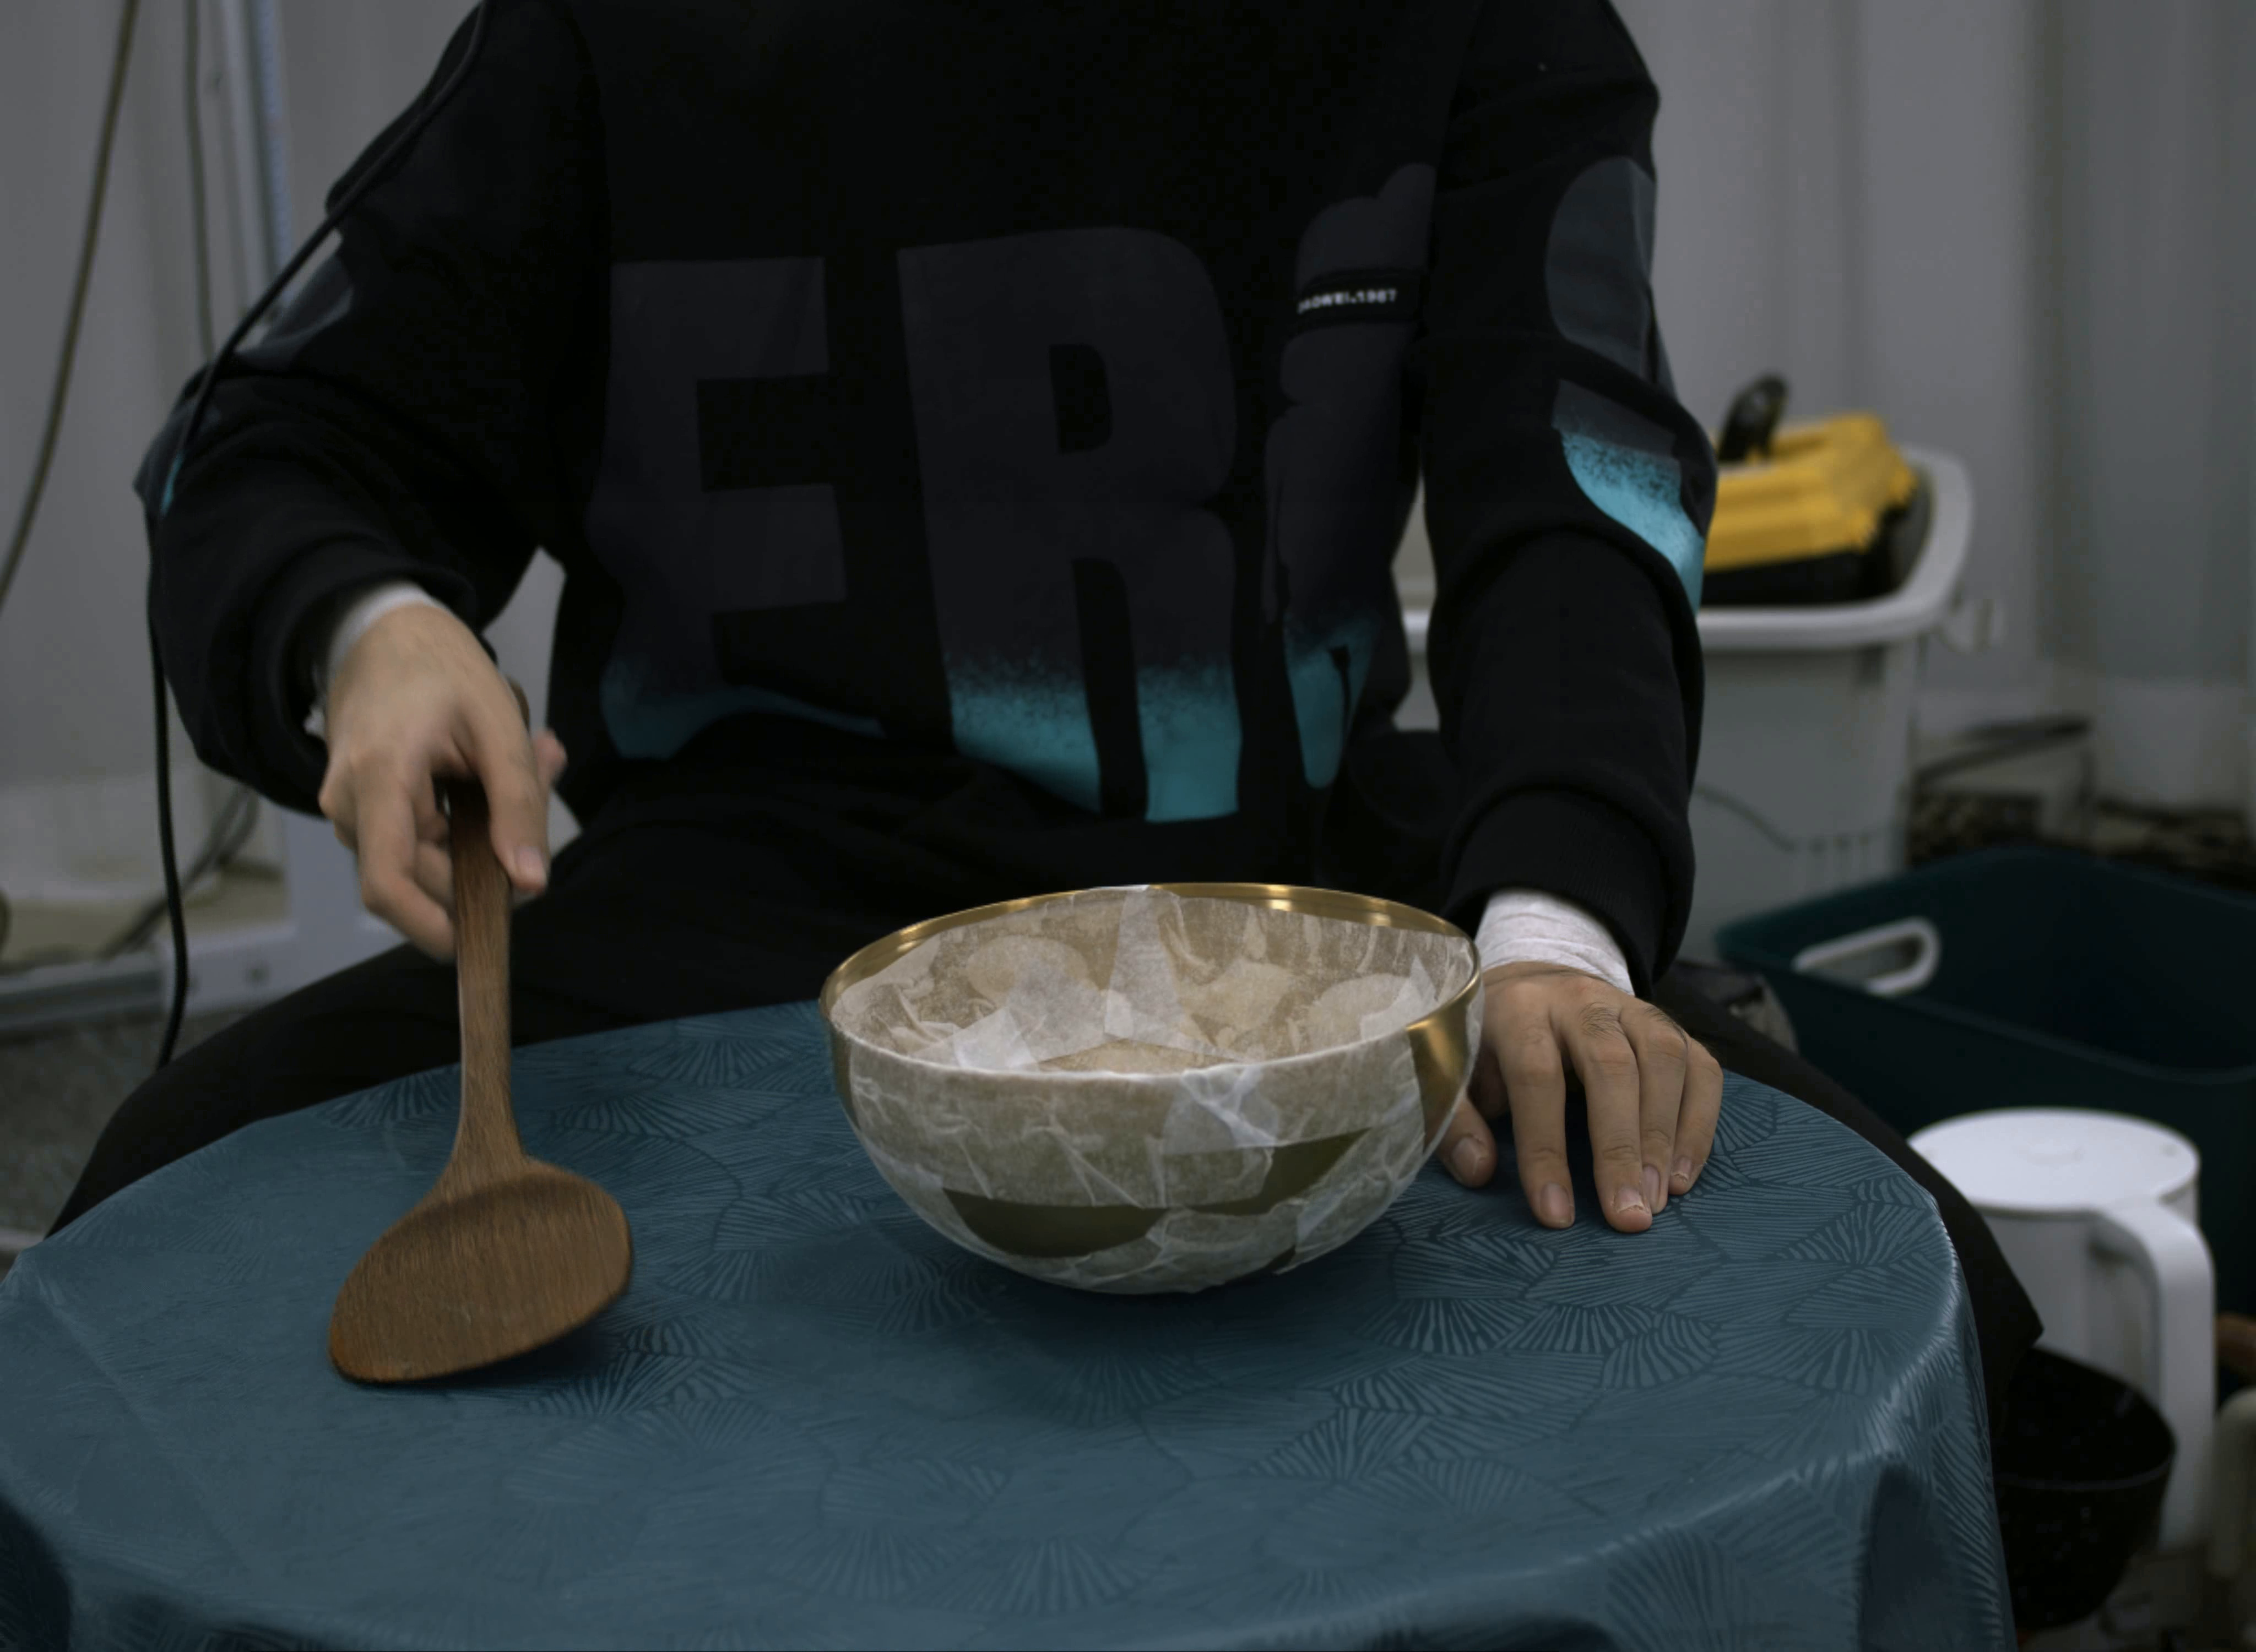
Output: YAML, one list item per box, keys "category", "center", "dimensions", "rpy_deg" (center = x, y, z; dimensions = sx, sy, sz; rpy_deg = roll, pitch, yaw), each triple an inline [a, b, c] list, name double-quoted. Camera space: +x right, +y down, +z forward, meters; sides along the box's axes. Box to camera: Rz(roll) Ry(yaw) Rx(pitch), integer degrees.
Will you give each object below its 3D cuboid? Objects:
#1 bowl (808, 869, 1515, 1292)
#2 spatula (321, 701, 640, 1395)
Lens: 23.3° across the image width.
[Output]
- category: "bowl"
  center: [0.012, 0.085, 1.642]
  dimensions: [0.214, 0.094, 0.216]
  rpy_deg: [-4, 14, 1]
- category: "spatula"
  center: [-0.203, 0.058, 1.733]
  dimensions: [0.096, 0.015, 0.391]
  rpy_deg: [-14, 32, 2]
